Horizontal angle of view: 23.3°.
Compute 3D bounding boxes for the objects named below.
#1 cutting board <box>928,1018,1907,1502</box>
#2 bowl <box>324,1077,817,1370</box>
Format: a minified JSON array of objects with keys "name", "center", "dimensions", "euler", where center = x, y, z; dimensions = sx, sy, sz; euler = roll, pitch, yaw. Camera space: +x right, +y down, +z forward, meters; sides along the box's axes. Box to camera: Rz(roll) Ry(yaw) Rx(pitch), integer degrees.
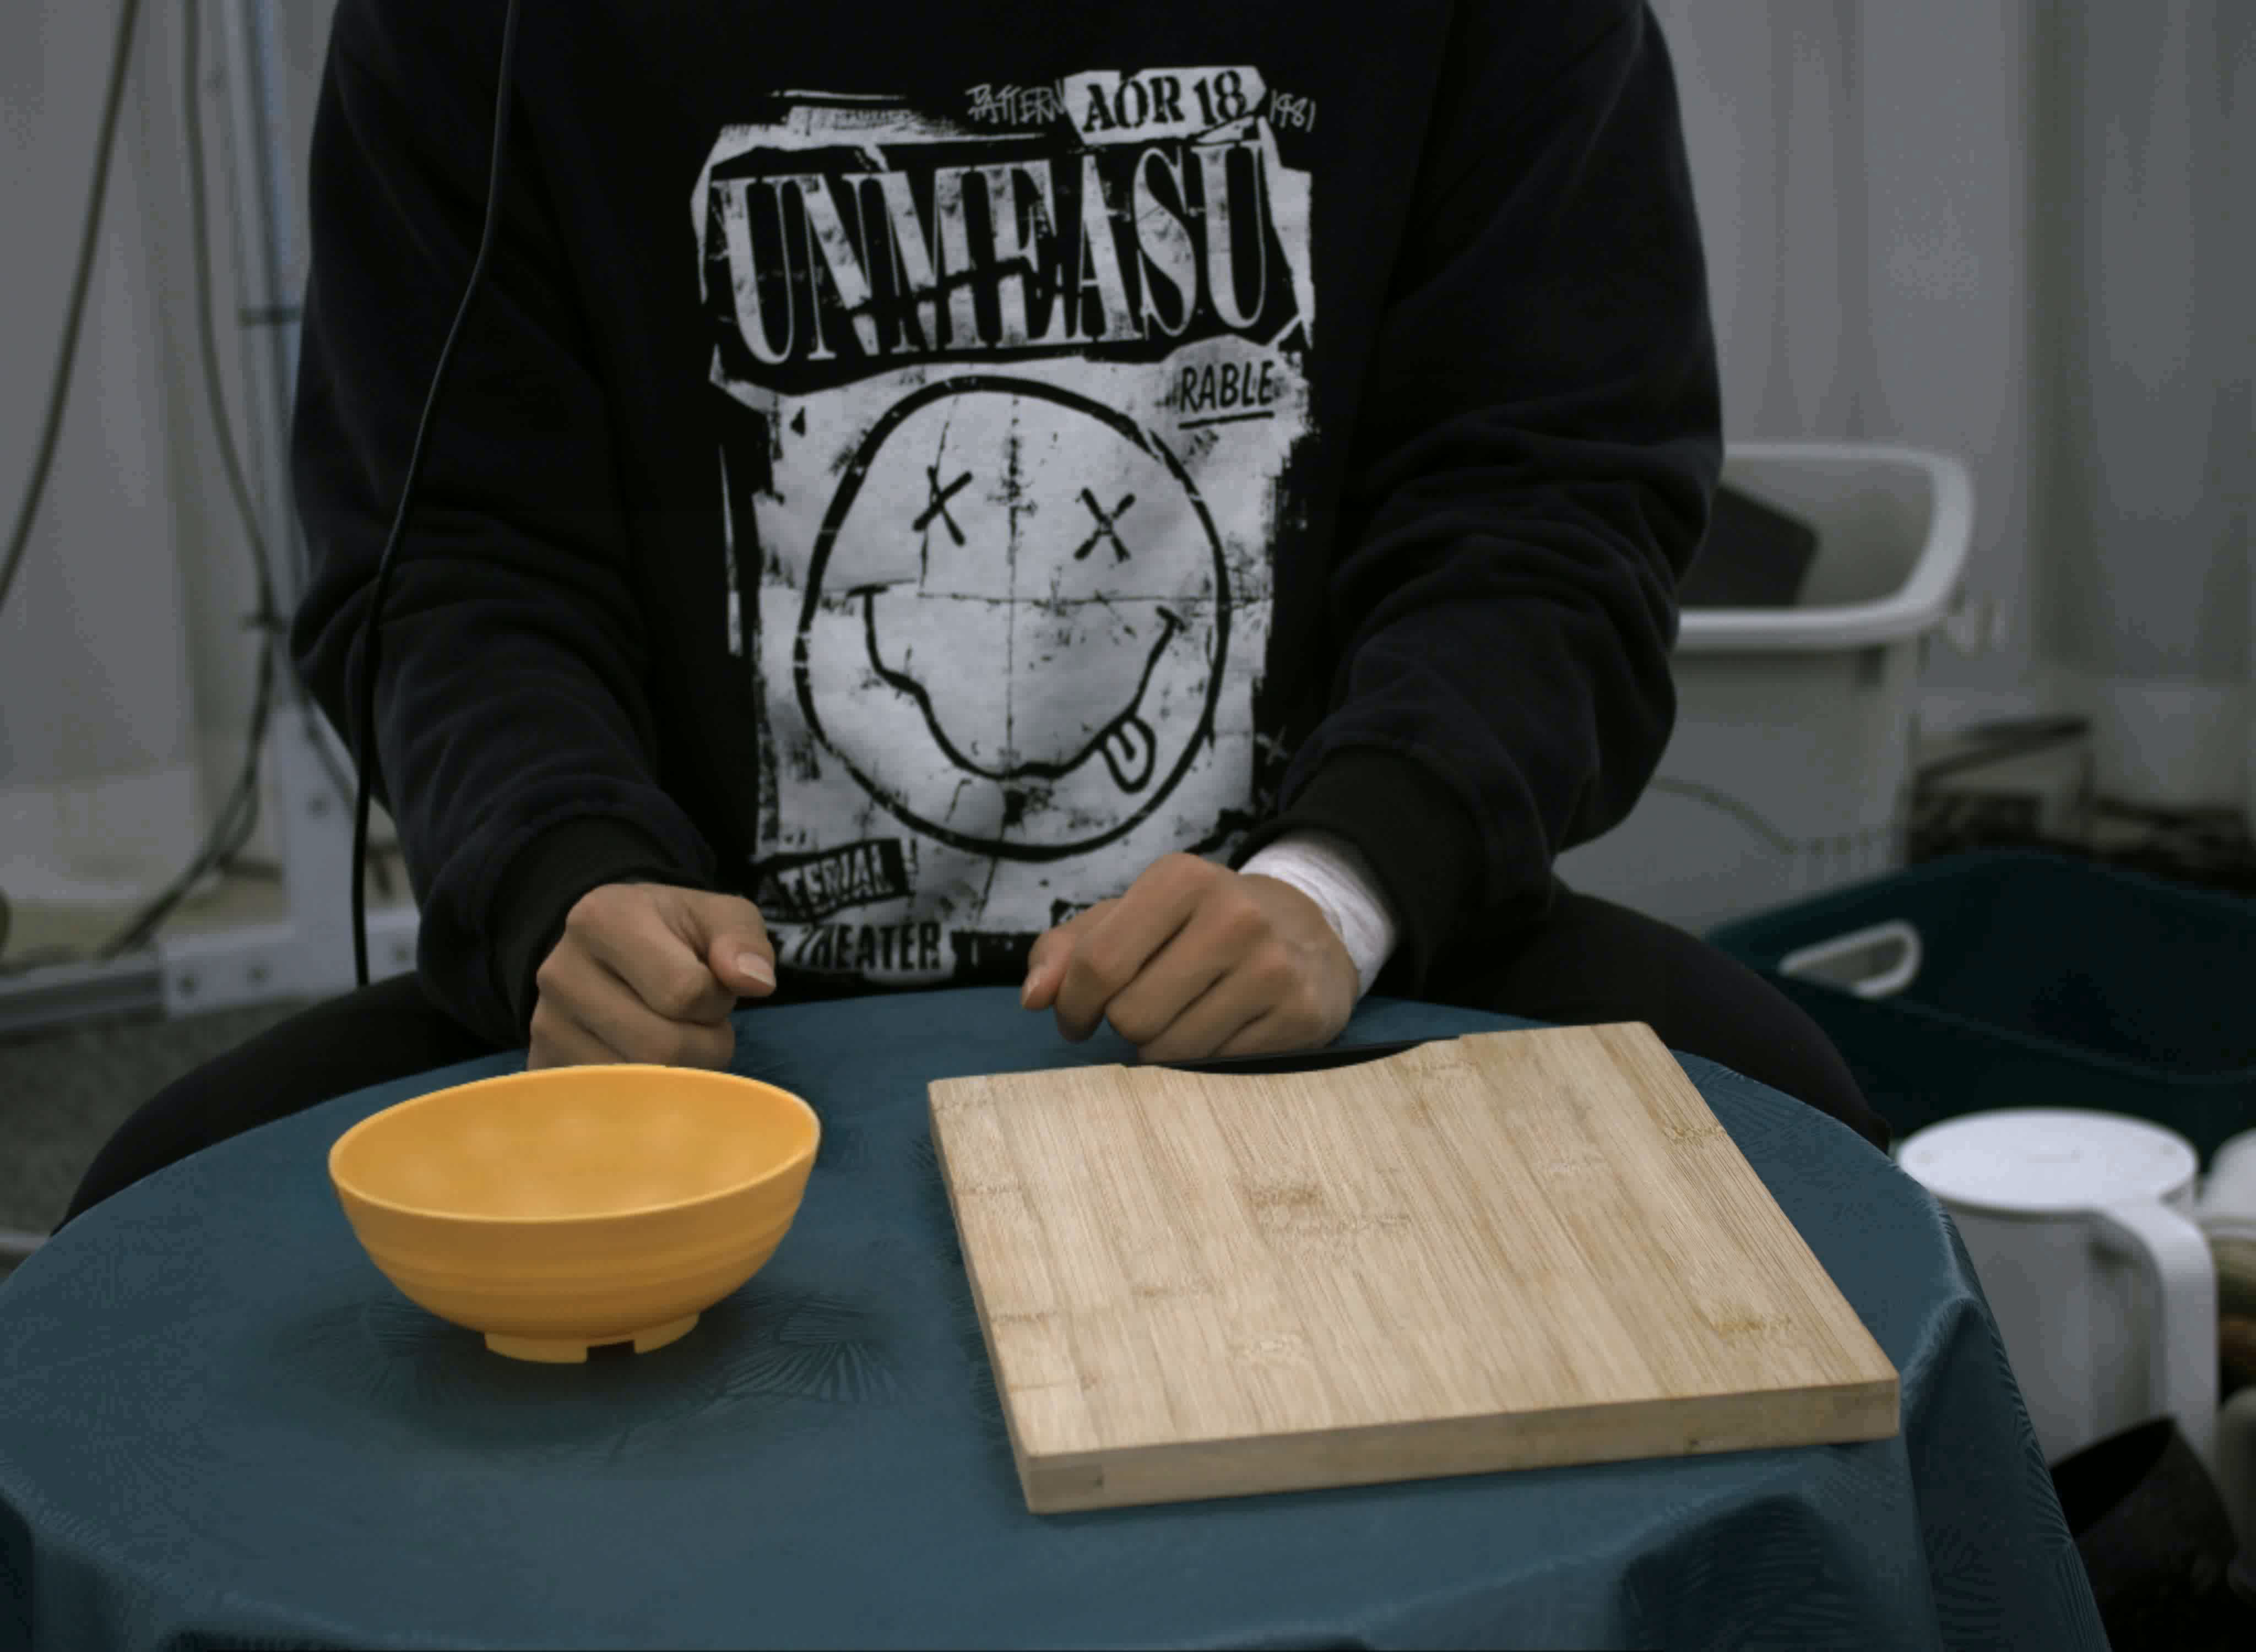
[{"name":"cutting board","center":[0.073,0.124,1.635],"dimensions":[0.250,0.023,0.351],"euler":[-4,15,-7]},{"name":"bowl","center":[-0.163,0.122,1.613],"dimensions":[0.145,0.060,0.146],"euler":[0,13,0]}]
